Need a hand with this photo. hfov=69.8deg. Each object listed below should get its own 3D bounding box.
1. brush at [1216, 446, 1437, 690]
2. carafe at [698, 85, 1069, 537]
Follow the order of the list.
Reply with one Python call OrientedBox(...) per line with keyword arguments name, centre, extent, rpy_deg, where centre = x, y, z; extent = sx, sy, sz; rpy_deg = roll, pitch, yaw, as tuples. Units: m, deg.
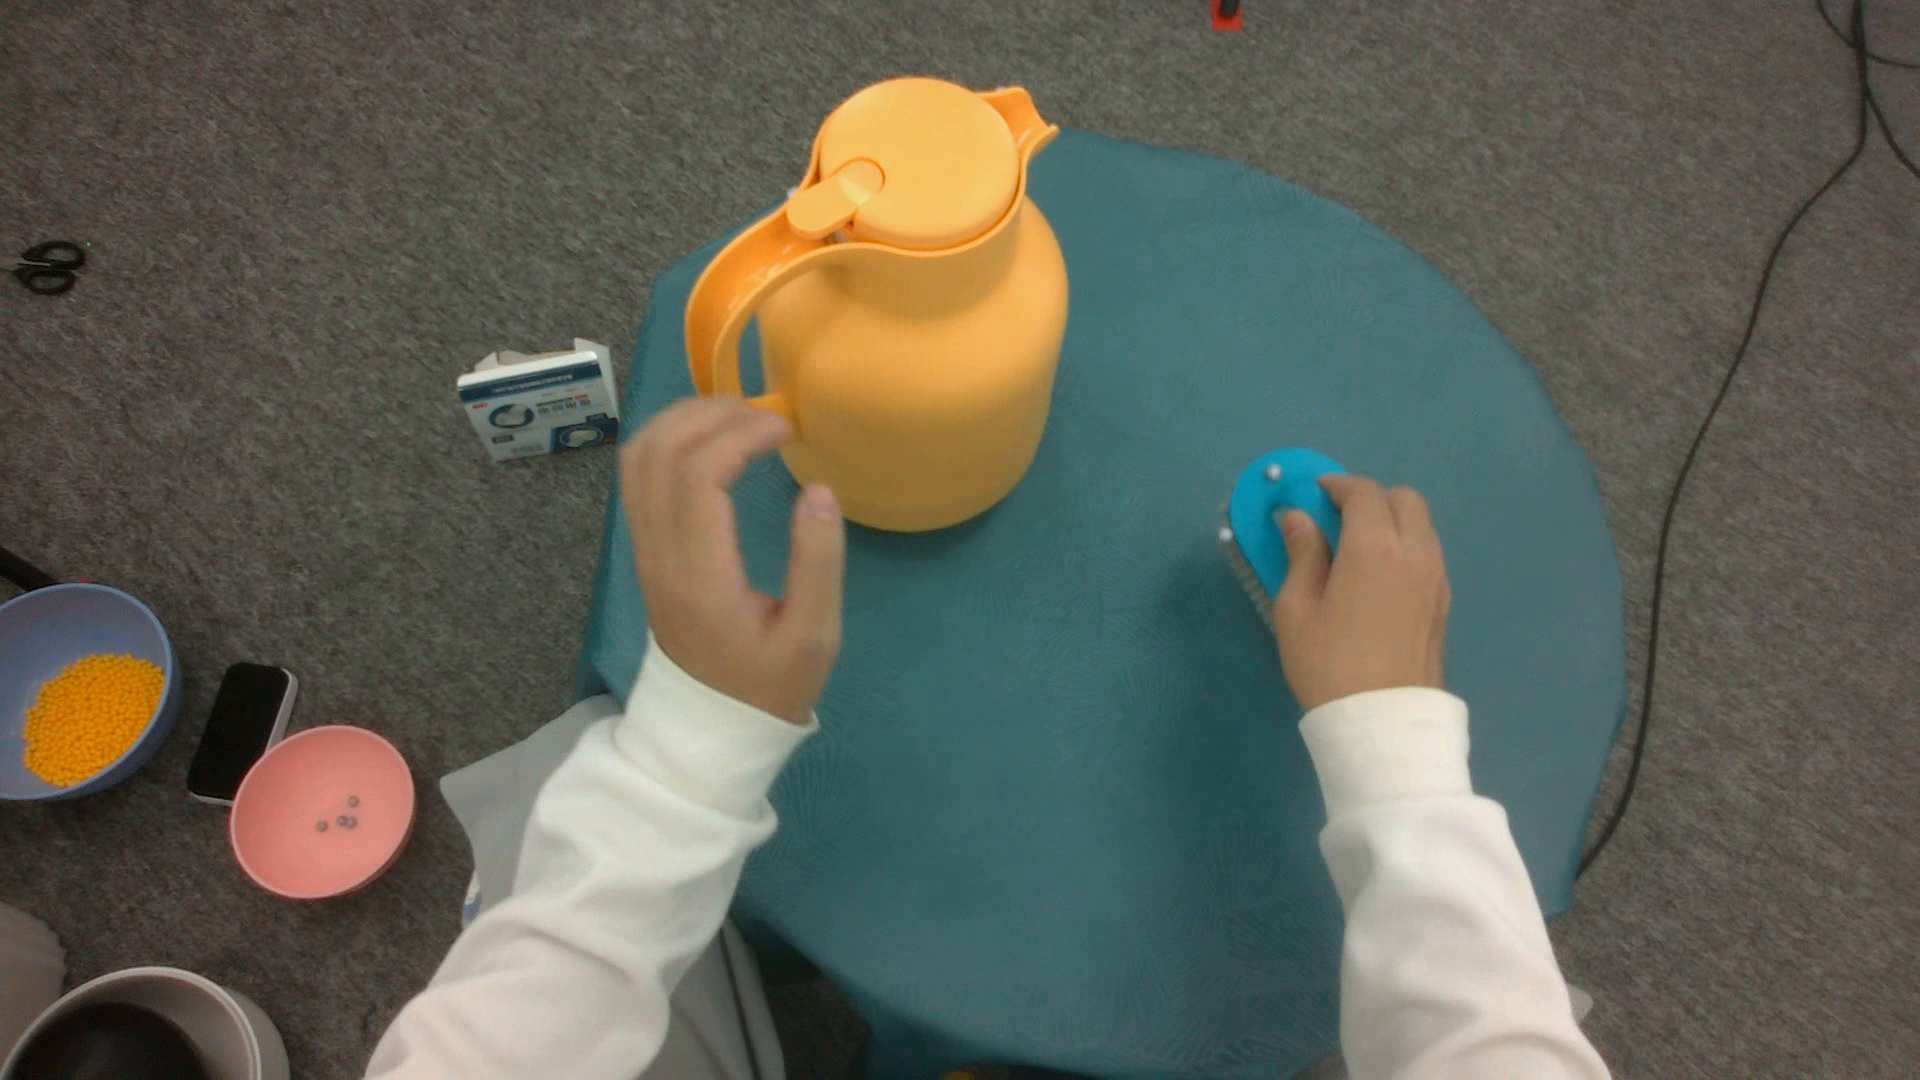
OrientedBox(name="brush", centre=(0.201, 0.009, 0.739), extent=(0.084, 0.063, 0.142), rpy_deg=(-27, 78, -11))
OrientedBox(name="carafe", centre=(-0.041, -0.110, 0.726), extent=(0.203, 0.259, 0.163), rpy_deg=(-31, 69, -17))
